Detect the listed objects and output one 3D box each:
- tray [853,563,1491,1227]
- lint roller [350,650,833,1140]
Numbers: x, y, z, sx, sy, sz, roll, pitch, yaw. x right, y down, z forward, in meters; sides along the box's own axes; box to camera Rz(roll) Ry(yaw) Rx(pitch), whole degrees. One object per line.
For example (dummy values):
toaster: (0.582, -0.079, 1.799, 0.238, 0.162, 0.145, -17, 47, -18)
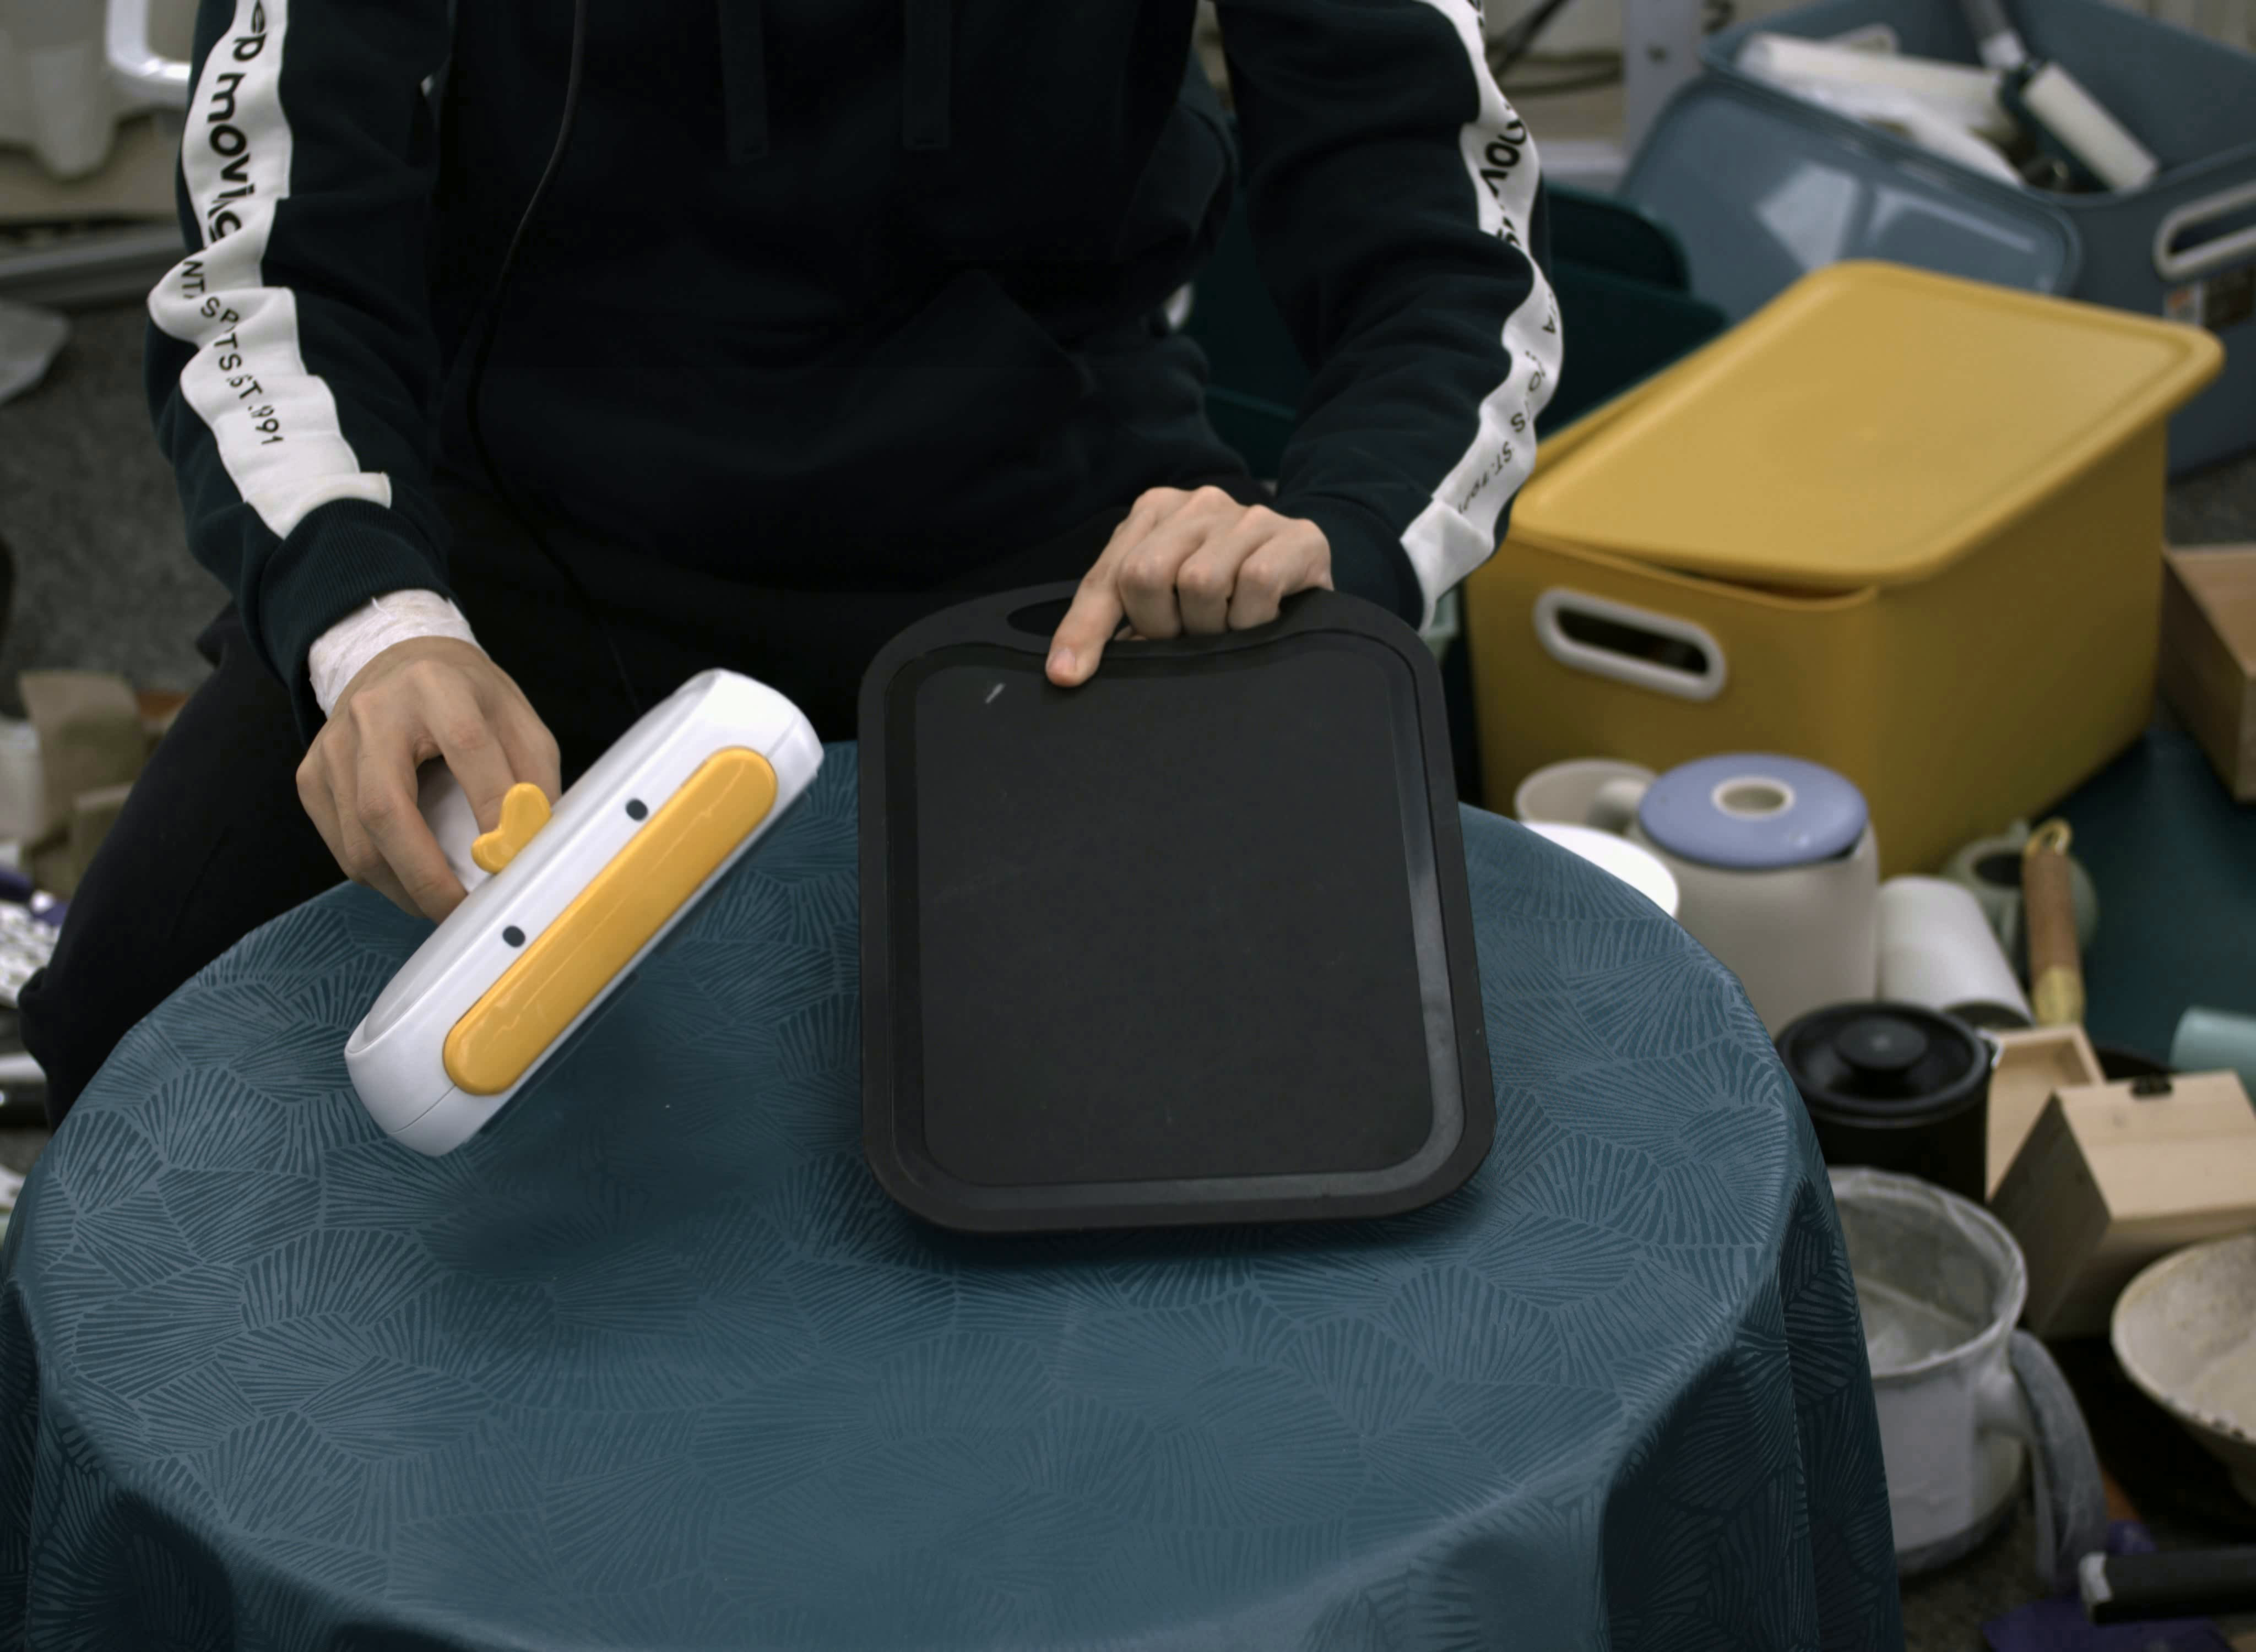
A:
tray: (0.011, 0.015, 1.931, 0.210, 0.009, 0.332, -2, 42, -1)
lint roller: (-0.204, 0.013, 1.887, 0.195, 0.074, 0.191, -52, 24, -15)
